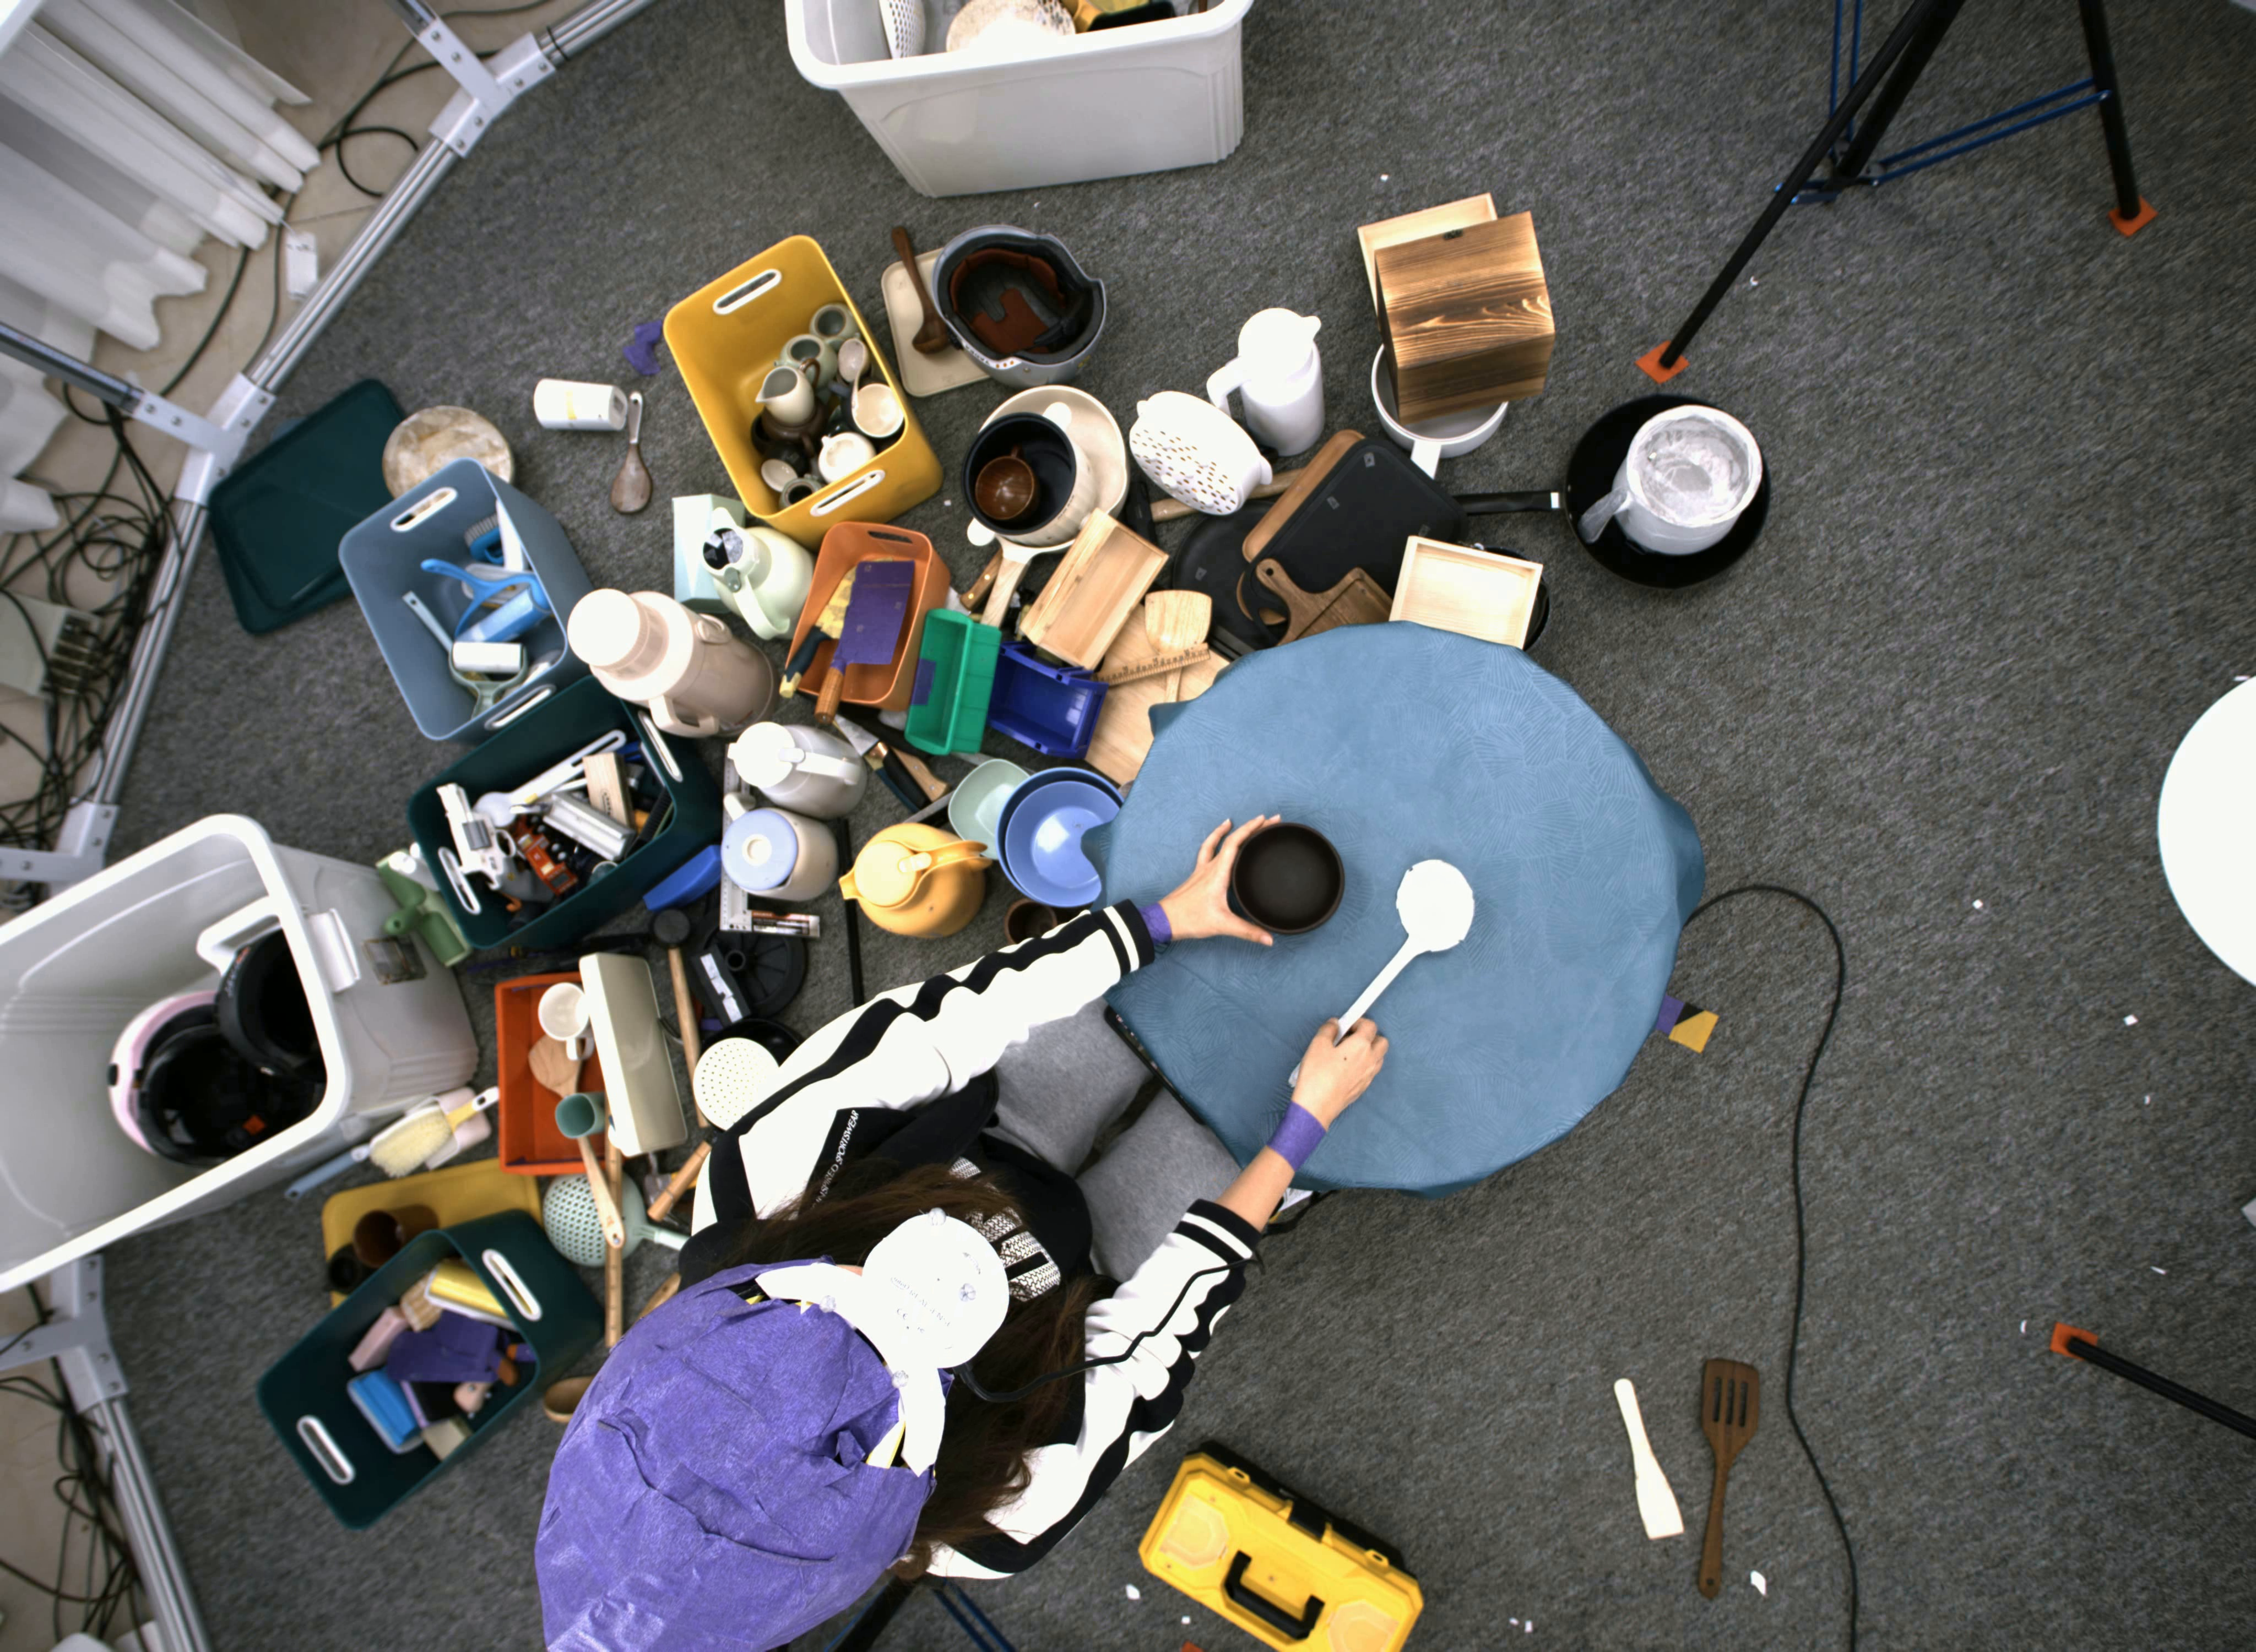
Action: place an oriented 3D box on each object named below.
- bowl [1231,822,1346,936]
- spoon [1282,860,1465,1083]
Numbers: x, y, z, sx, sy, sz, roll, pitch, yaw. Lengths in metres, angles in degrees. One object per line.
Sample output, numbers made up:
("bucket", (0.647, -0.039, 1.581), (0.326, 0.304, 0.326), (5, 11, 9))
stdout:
("bowl", (0.168, 0.056, 1.443), (0.118, 0.070, 0.117), (-1, 85, 10))
("spoon", (0.243, 0.151, 1.430), (0.278, 0.060, 0.099), (-47, 44, 5))
